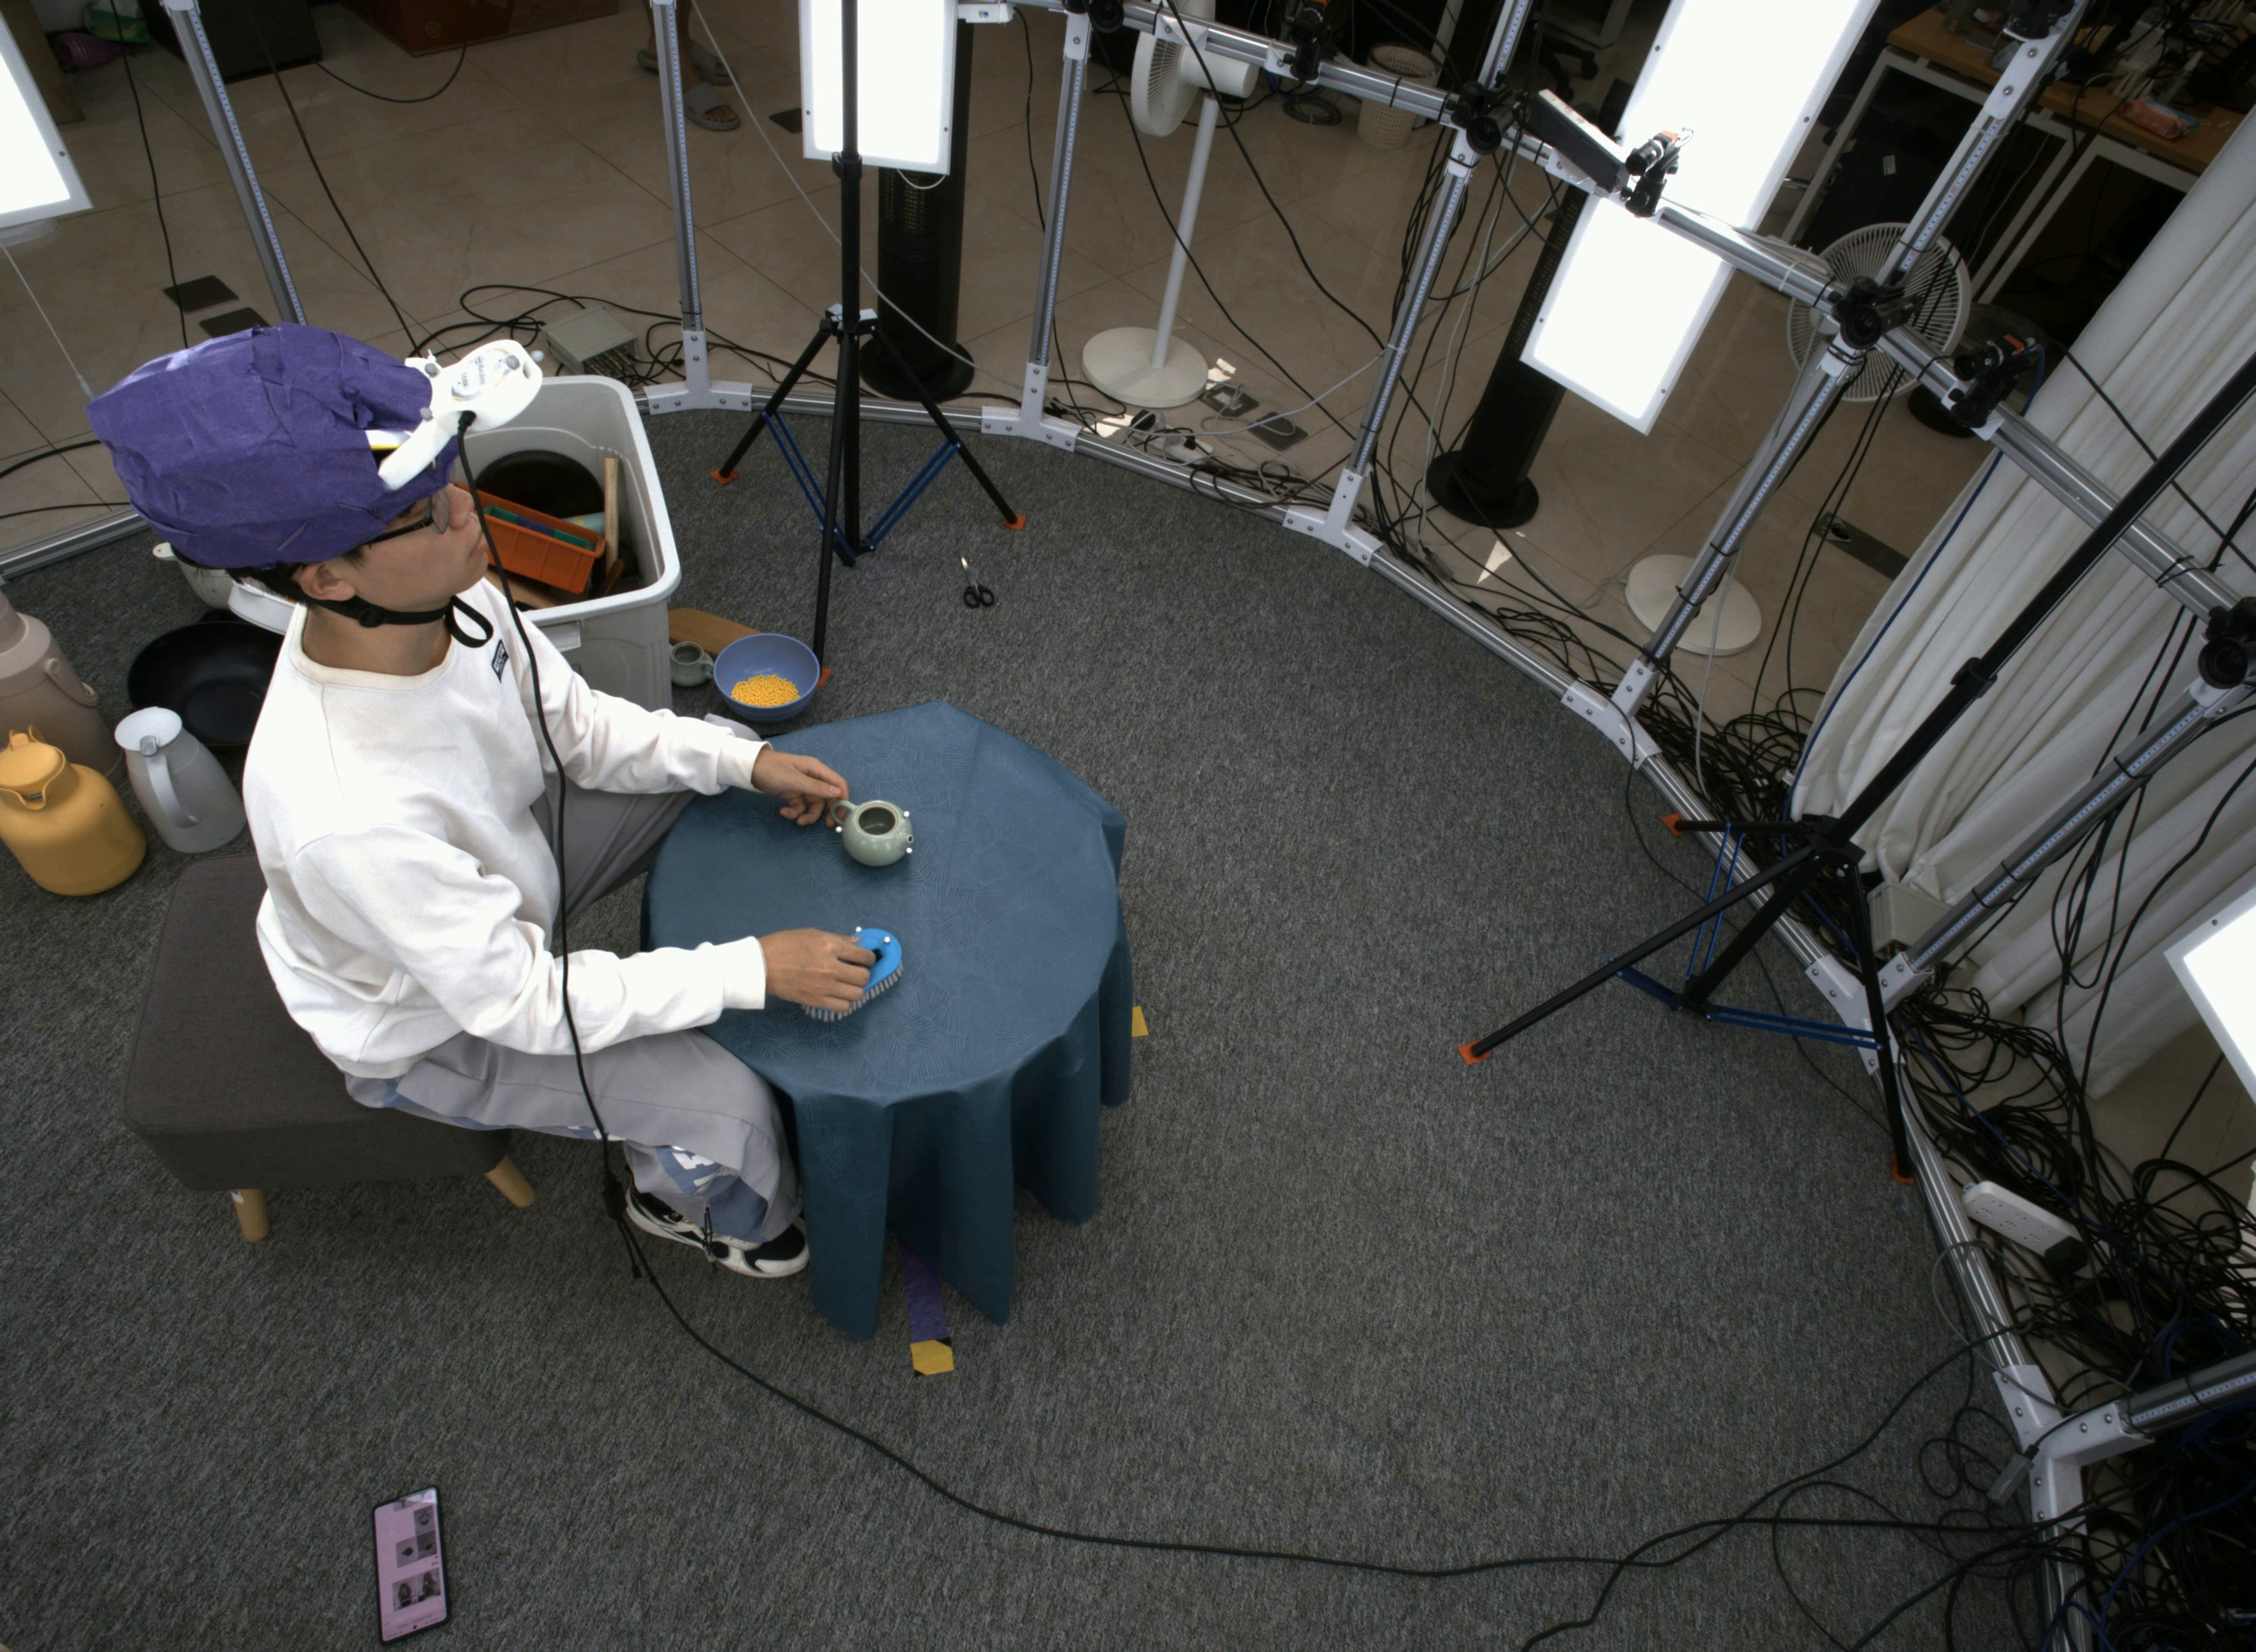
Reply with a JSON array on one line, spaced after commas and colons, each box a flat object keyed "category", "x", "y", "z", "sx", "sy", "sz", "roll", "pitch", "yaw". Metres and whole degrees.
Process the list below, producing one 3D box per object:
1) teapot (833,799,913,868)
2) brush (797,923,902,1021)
[{"category": "teapot", "x": -0.338, "y": 0.005, "z": 1.714, "sx": 0.126, "sy": 0.062, "sz": 0.091, "roll": 31, "pitch": 56, "yaw": 13}, {"category": "brush", "x": -0.338, "y": 0.171, "z": 1.587, "sx": 0.142, "sy": 0.065, "sz": 0.083, "roll": -36, "pitch": 74, "yaw": -28}]
